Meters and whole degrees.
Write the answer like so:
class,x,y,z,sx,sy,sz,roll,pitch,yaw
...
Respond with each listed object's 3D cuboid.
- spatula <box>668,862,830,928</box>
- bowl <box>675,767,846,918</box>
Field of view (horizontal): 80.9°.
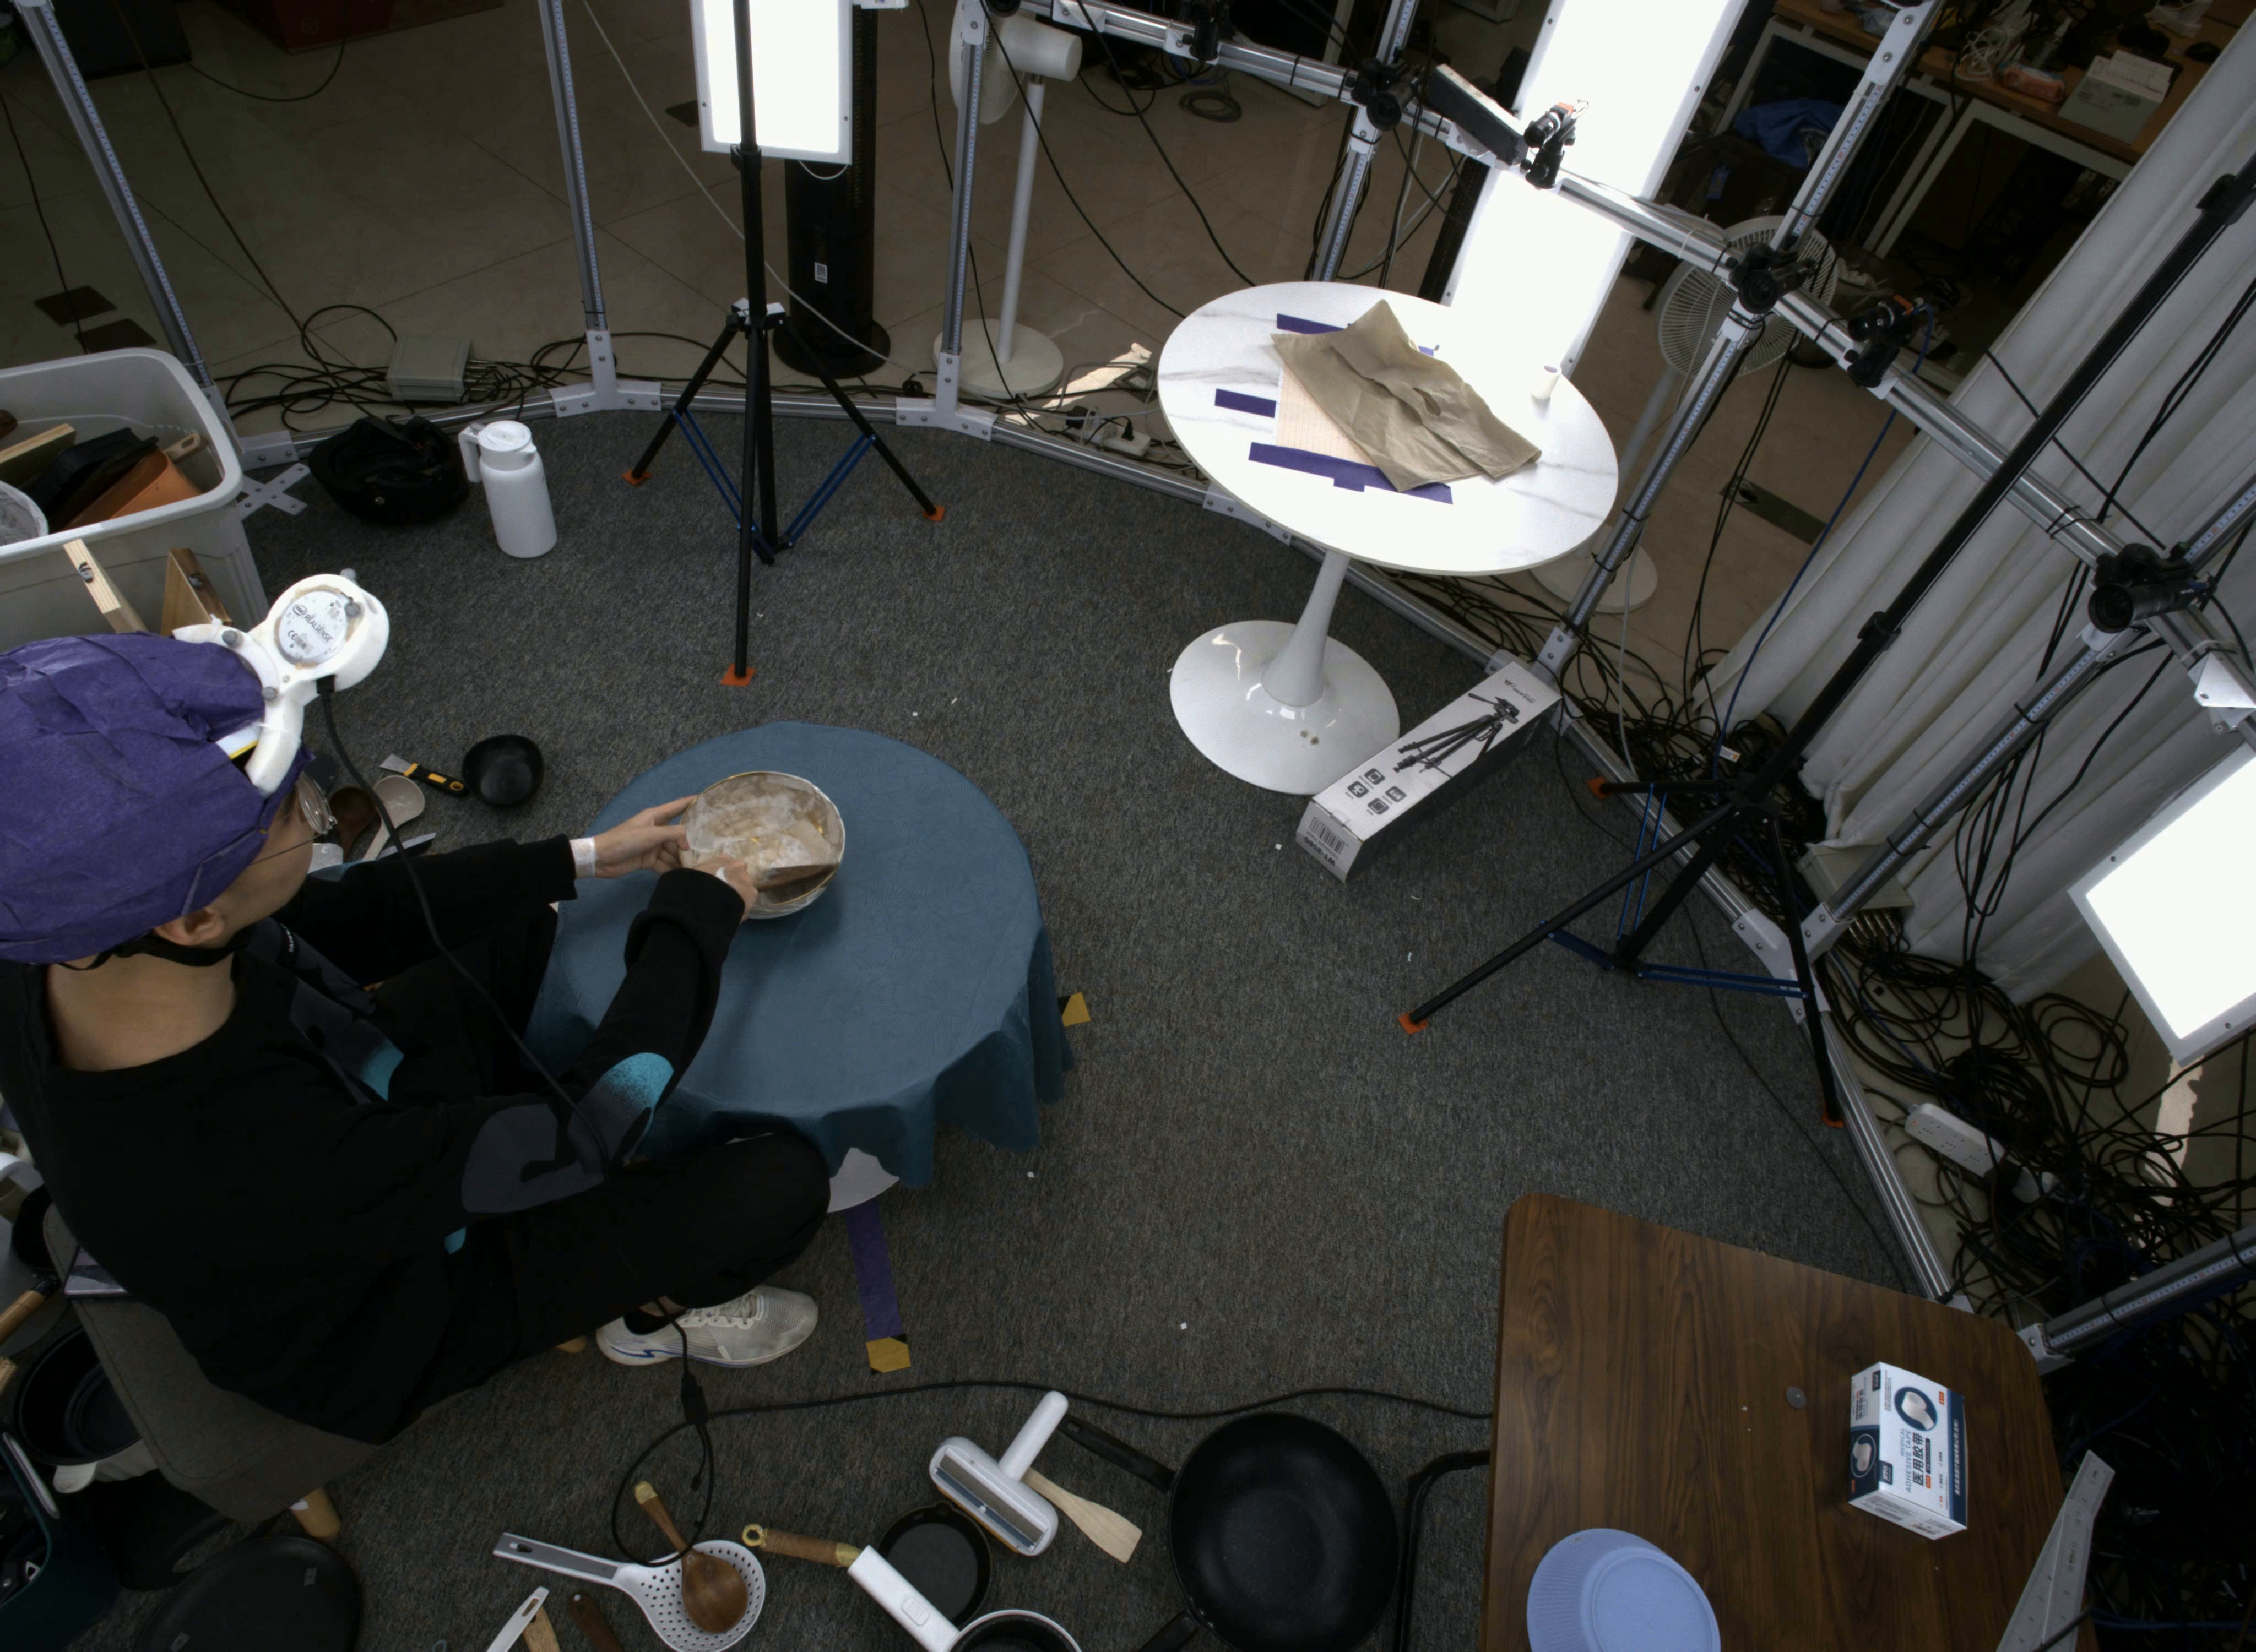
class,x,y,z,sx,sy,sz,roll,pitch,yaw
spatula,-0.440,0.074,1.487,0.094,0.384,0.016,-5,95,5
bowl,-0.463,0.034,1.631,0.215,0.096,0.211,8,57,-11
